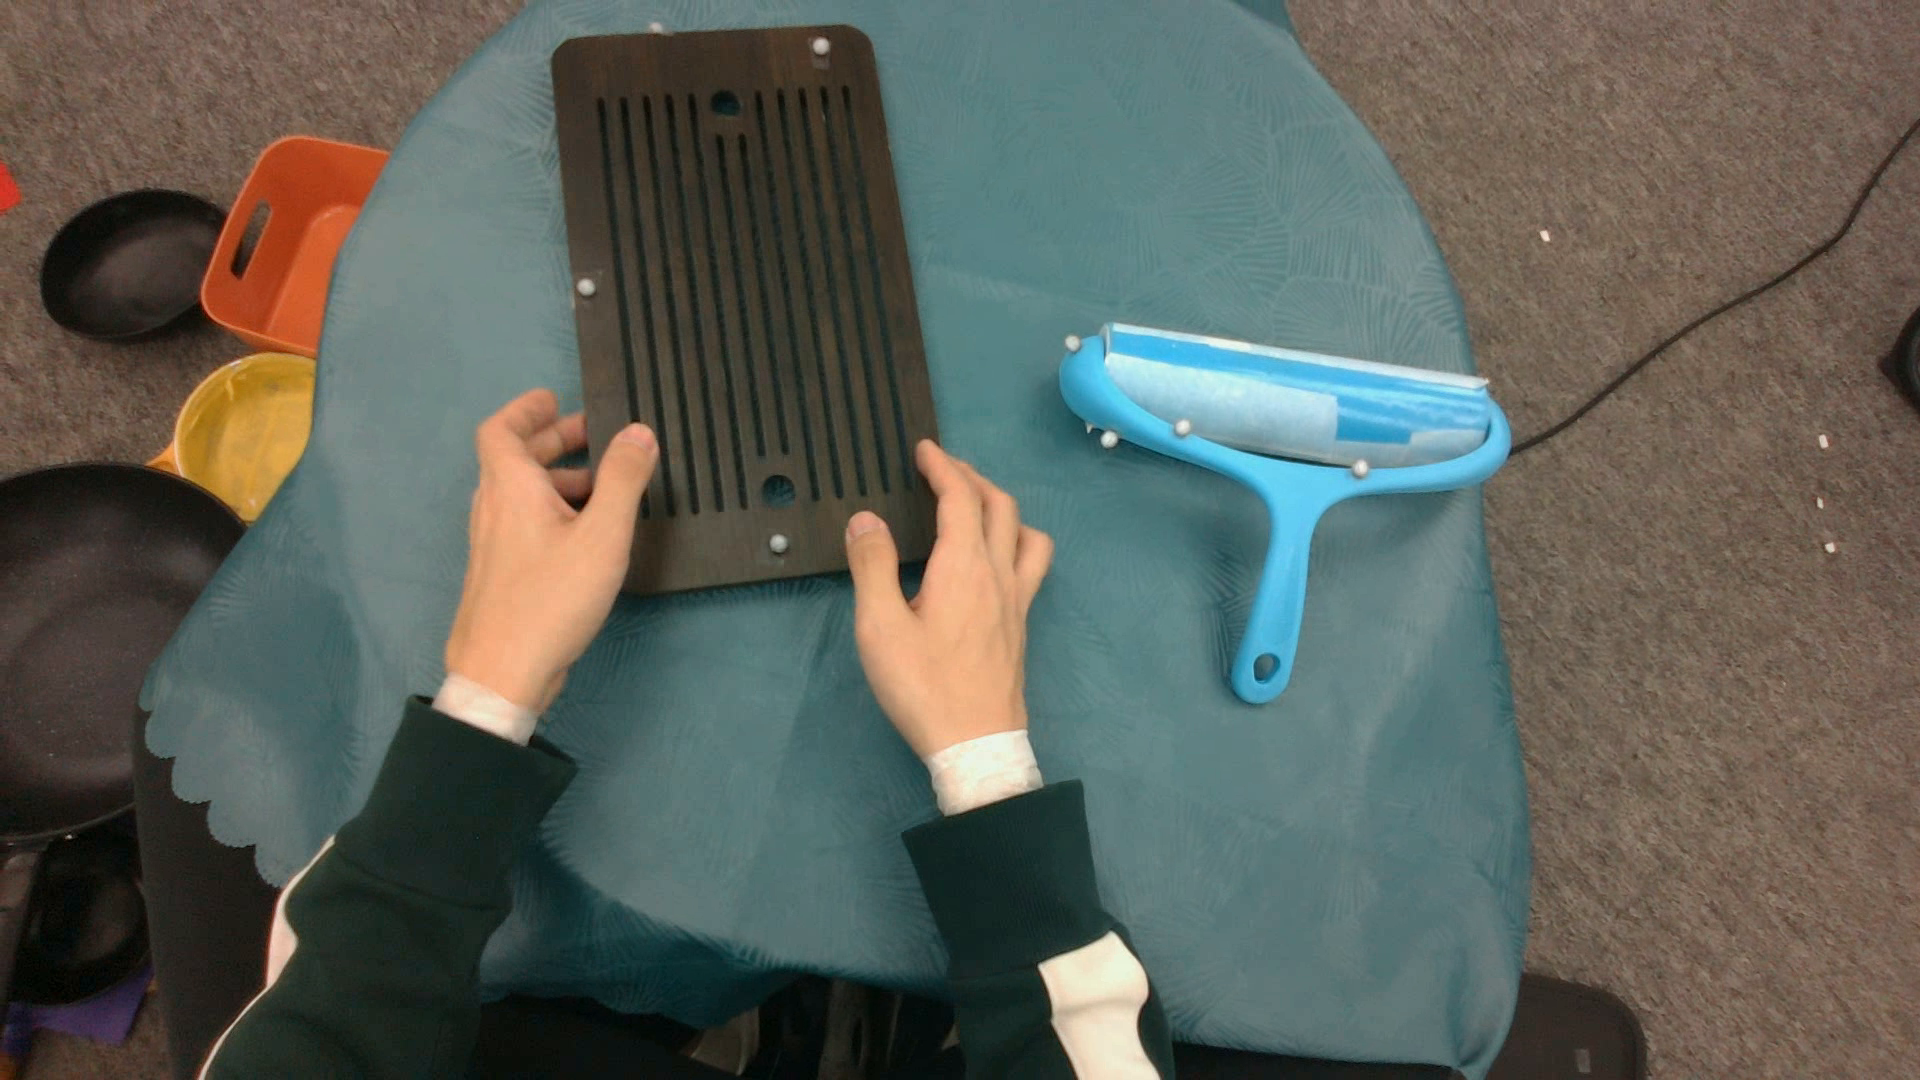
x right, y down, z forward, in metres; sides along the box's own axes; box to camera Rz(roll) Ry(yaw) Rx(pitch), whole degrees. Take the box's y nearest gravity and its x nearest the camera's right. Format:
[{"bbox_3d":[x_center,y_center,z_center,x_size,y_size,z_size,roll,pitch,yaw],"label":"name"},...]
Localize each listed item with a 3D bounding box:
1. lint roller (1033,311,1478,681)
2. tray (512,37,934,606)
[{"bbox_3d":[0.149,-0.024,0.683,0.229,0.067,0.181,4,70,-7],"label":"lint roller"},{"bbox_3d":[-0.124,-0.121,0.701,0.170,0.018,0.306,-8,73,-12],"label":"tray"}]
